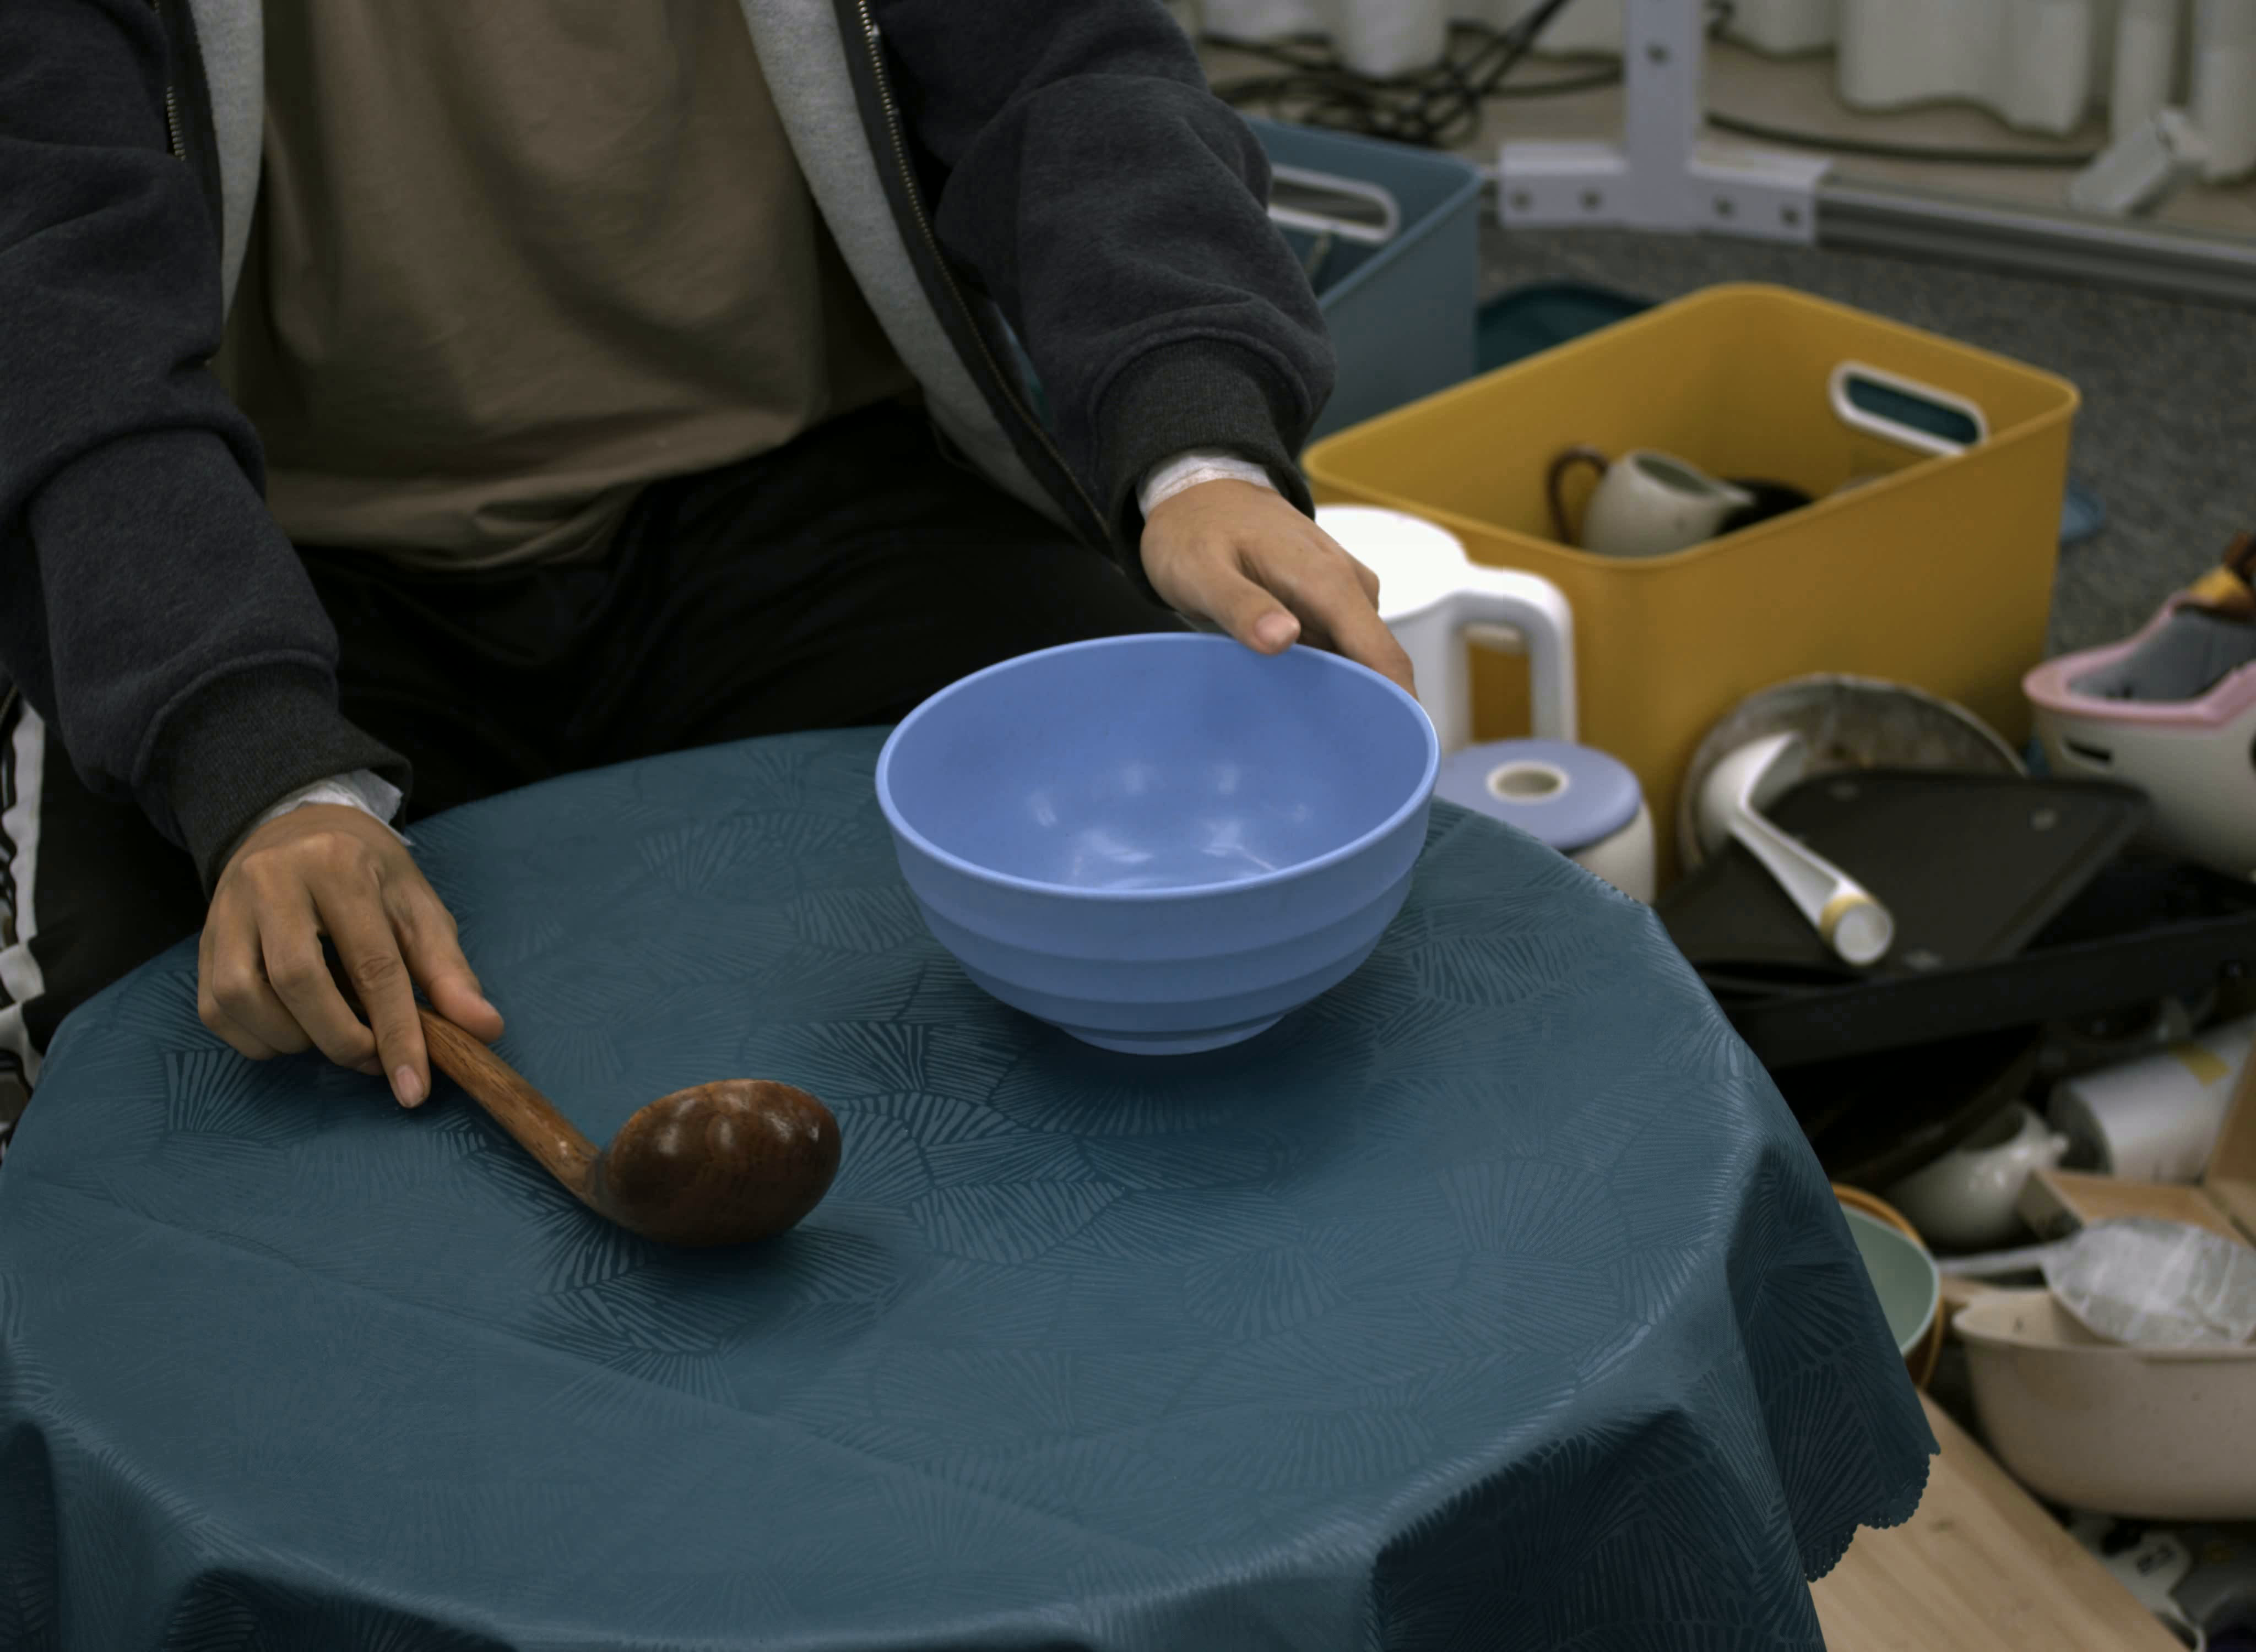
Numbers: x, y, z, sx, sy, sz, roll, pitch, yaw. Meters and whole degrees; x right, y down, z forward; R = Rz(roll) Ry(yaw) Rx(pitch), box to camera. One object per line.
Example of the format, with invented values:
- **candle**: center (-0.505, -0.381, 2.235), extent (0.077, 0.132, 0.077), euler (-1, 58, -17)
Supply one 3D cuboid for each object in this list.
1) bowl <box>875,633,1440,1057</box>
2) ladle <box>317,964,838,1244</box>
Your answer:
- **bowl**: center (0.013, 0.017, 1.961), extent (0.195, 0.094, 0.199), euler (-3, 27, 2)
- **ladle**: center (-0.194, 0.072, 1.901), extent (0.081, 0.077, 0.274), euler (28, 2, -40)
